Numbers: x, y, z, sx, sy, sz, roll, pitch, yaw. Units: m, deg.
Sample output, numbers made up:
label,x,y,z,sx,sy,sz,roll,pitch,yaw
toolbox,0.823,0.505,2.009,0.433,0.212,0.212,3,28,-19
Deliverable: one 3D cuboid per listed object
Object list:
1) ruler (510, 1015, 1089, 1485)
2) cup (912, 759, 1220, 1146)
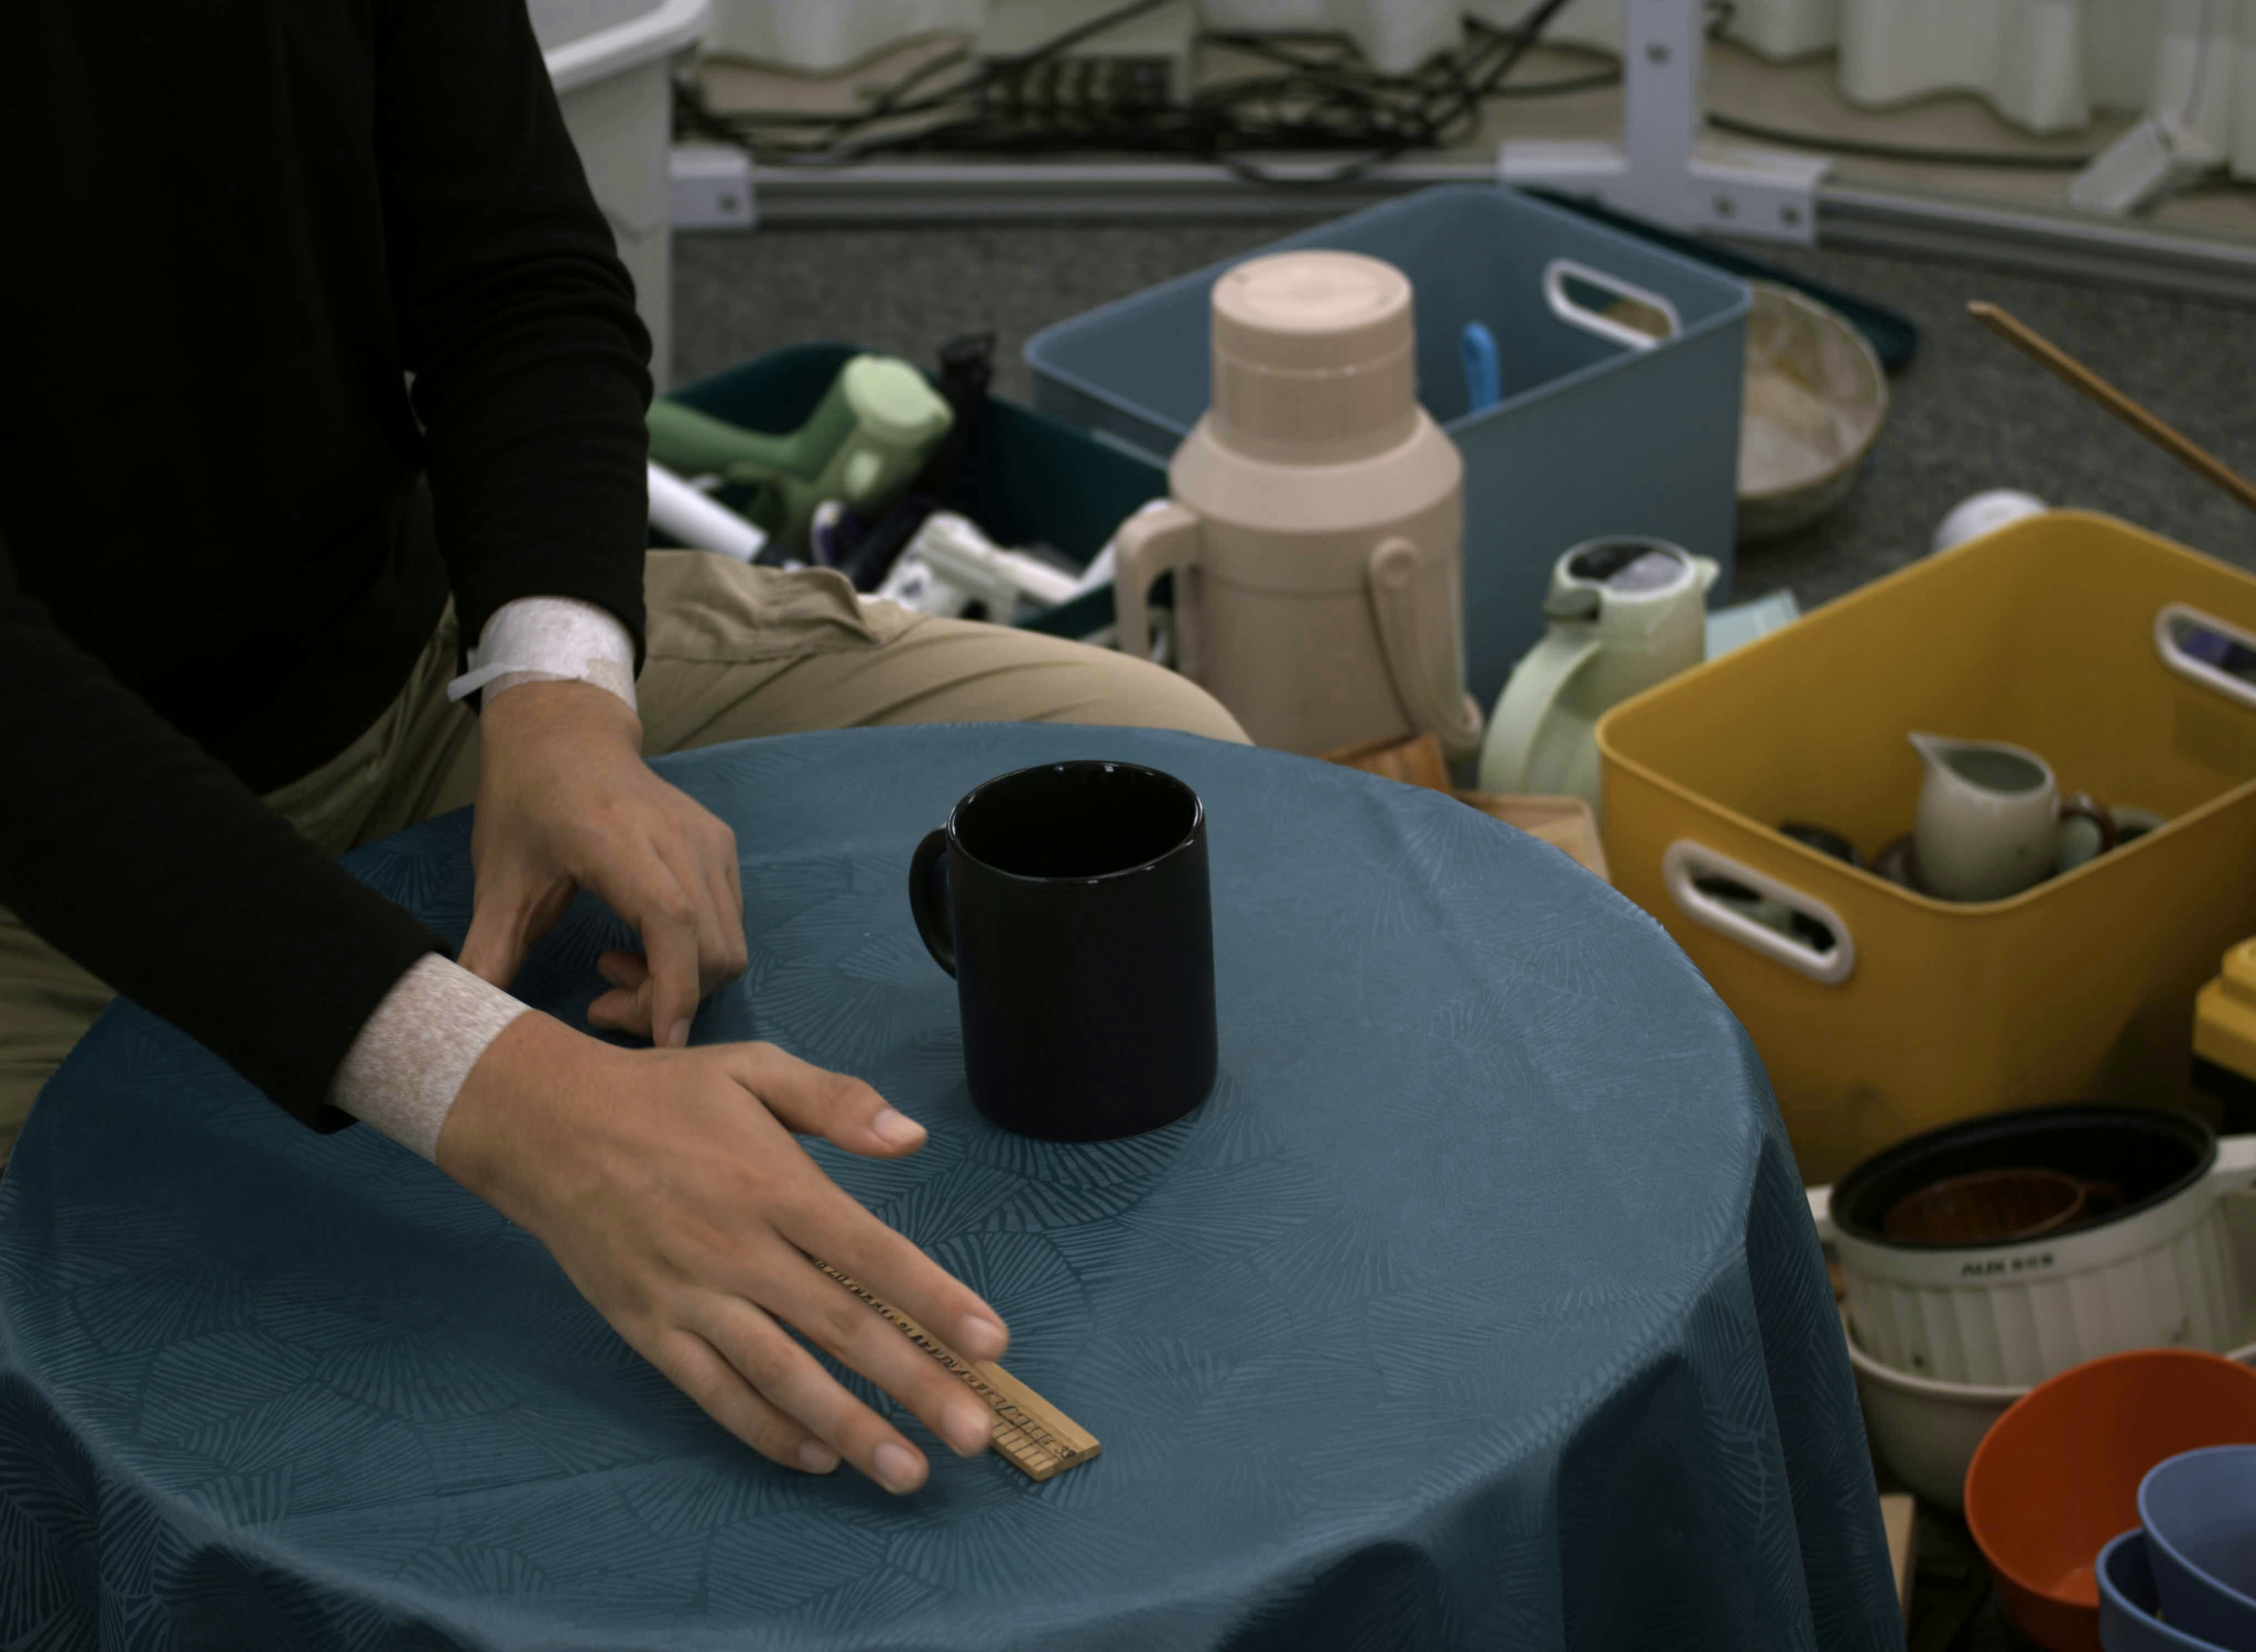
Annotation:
label,x,y,z,sx,sy,sz,roll,pitch,yaw
ruler,-0.114,0.132,1.840,0.027,0.022,0.333,-15,30,-31
cup,-0.028,0.038,1.917,0.123,0.104,0.090,21,37,40
